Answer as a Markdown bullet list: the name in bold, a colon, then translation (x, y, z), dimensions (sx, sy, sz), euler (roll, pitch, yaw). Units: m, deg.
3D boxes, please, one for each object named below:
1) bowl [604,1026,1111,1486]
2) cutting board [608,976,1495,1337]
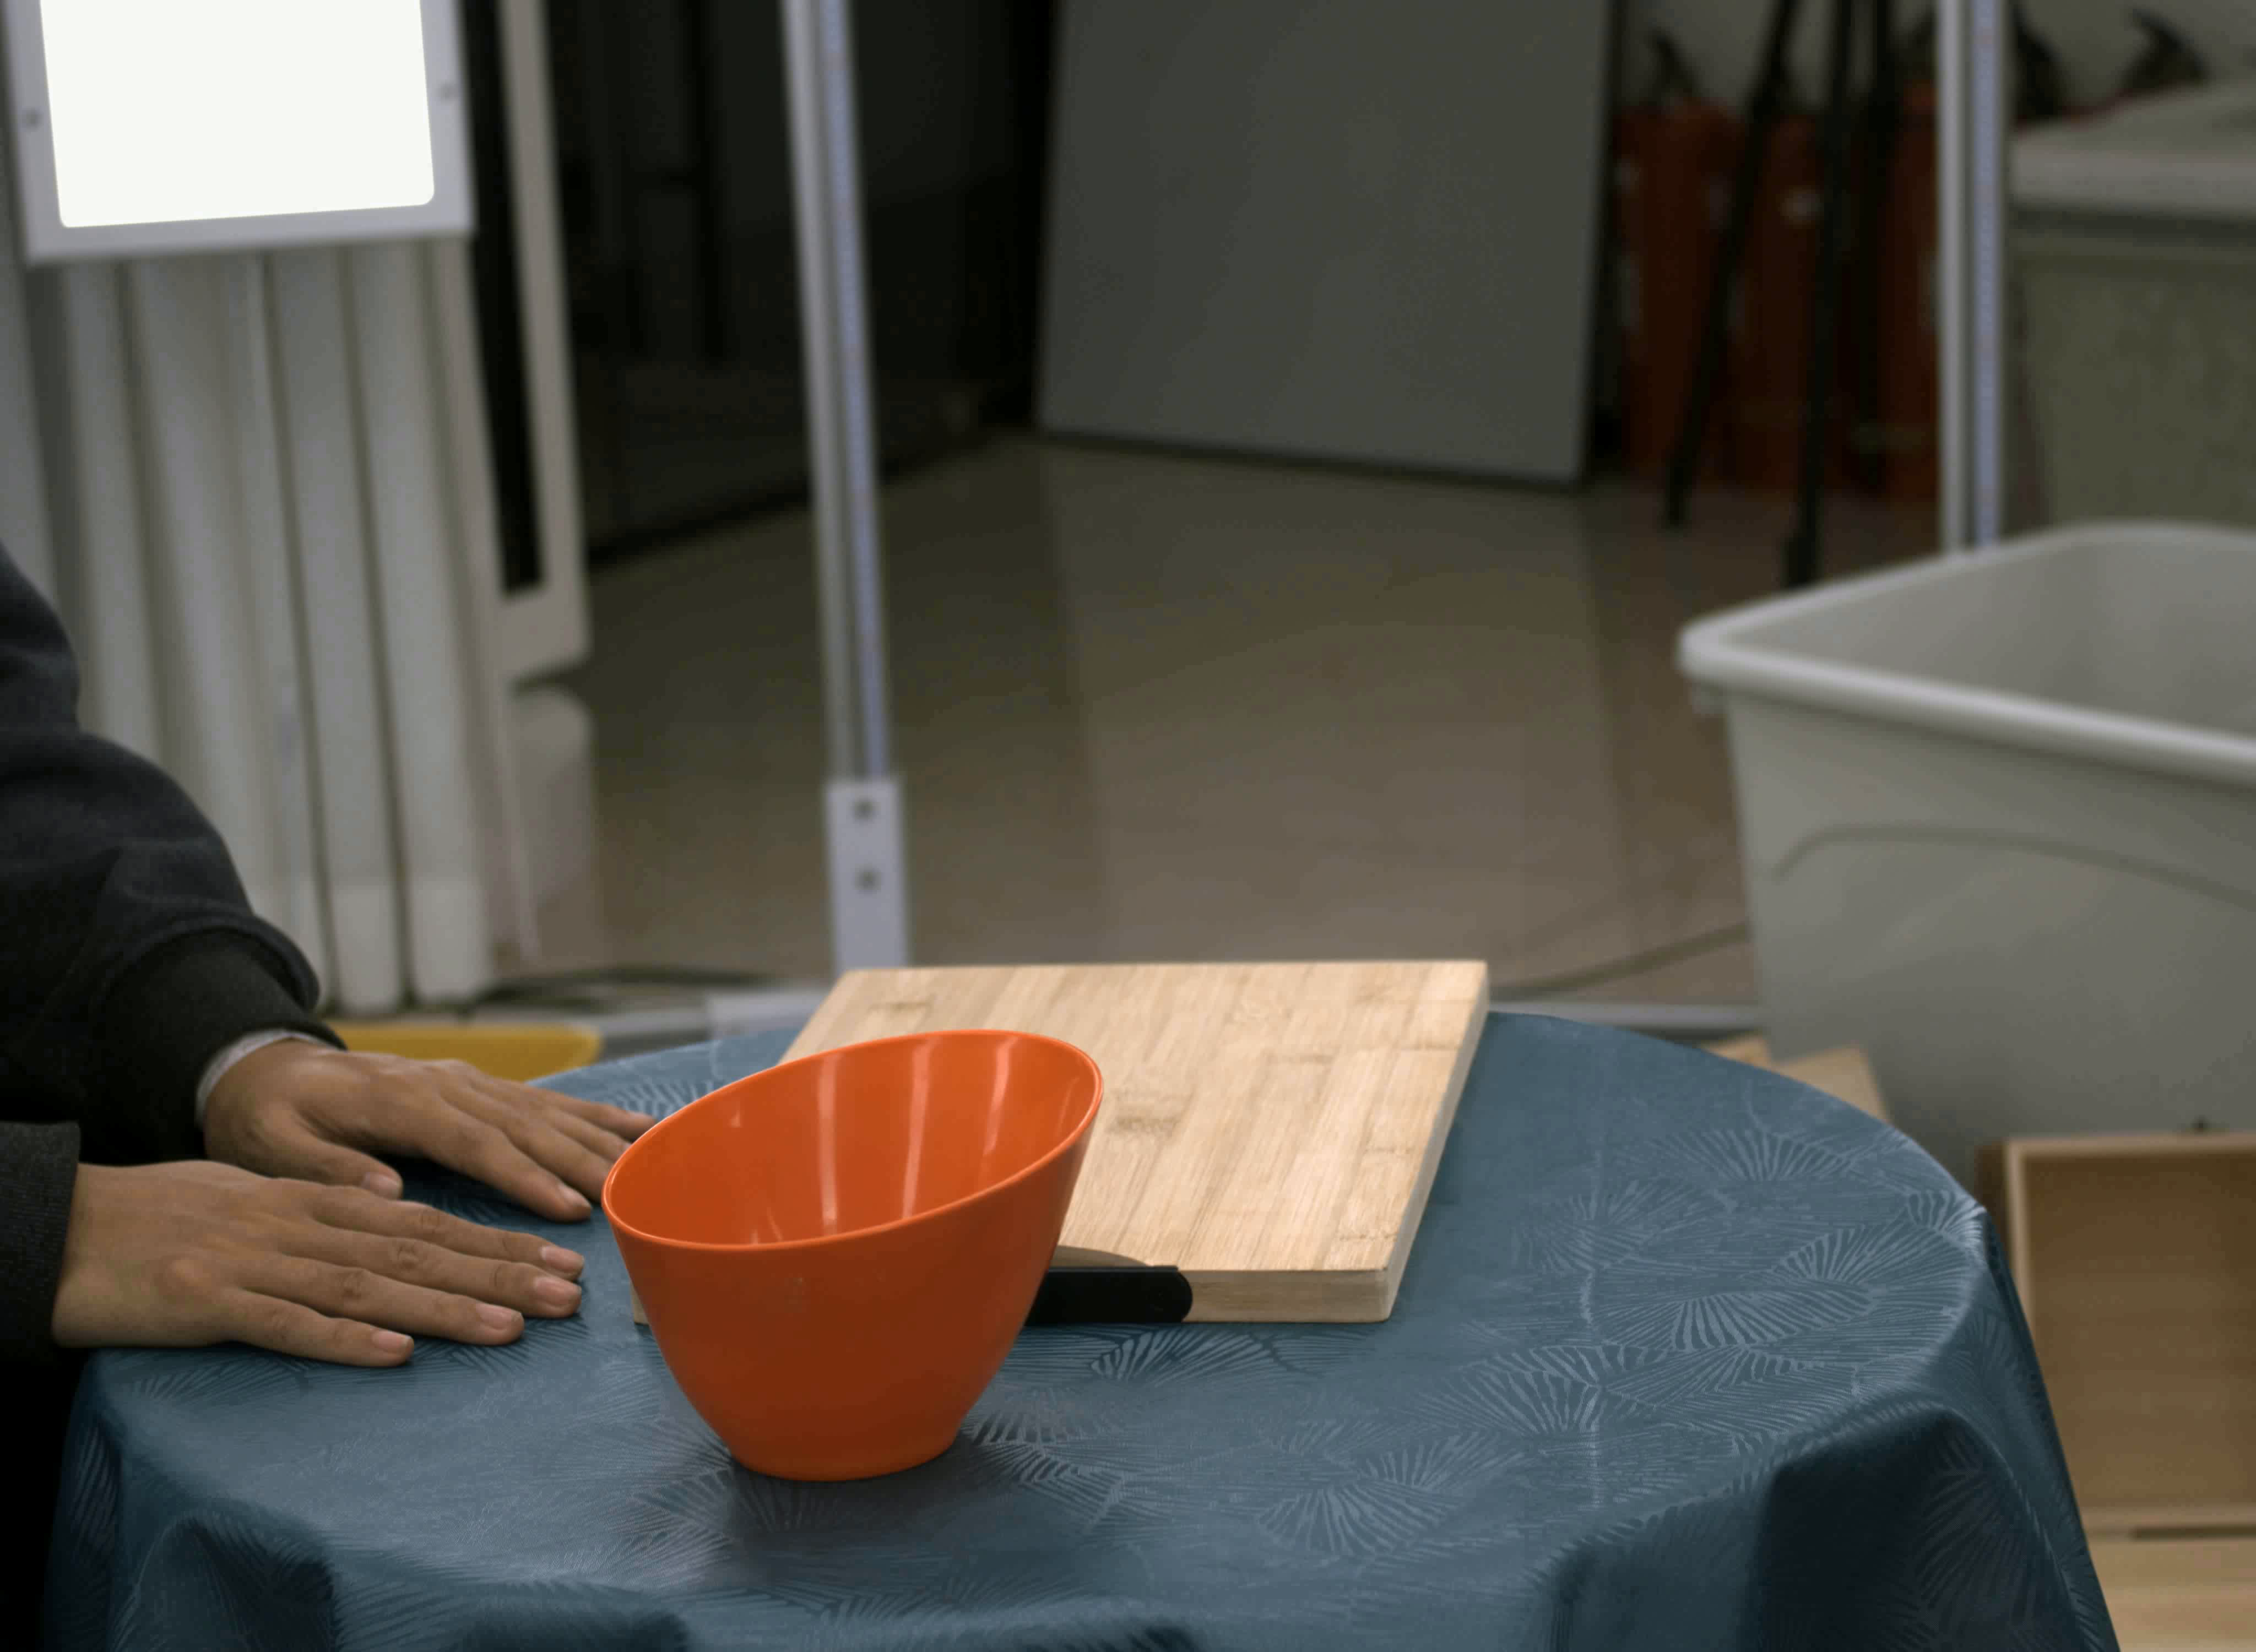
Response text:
- **bowl**: translation (-0.075, 0.127, 1.550), dimensions (0.146, 0.106, 0.148), euler (-3, 15, 0)
- **cutting board**: translation (-0.013, 0.106, 1.802), dimensions (0.249, 0.024, 0.347), euler (-2, 13, 10)
